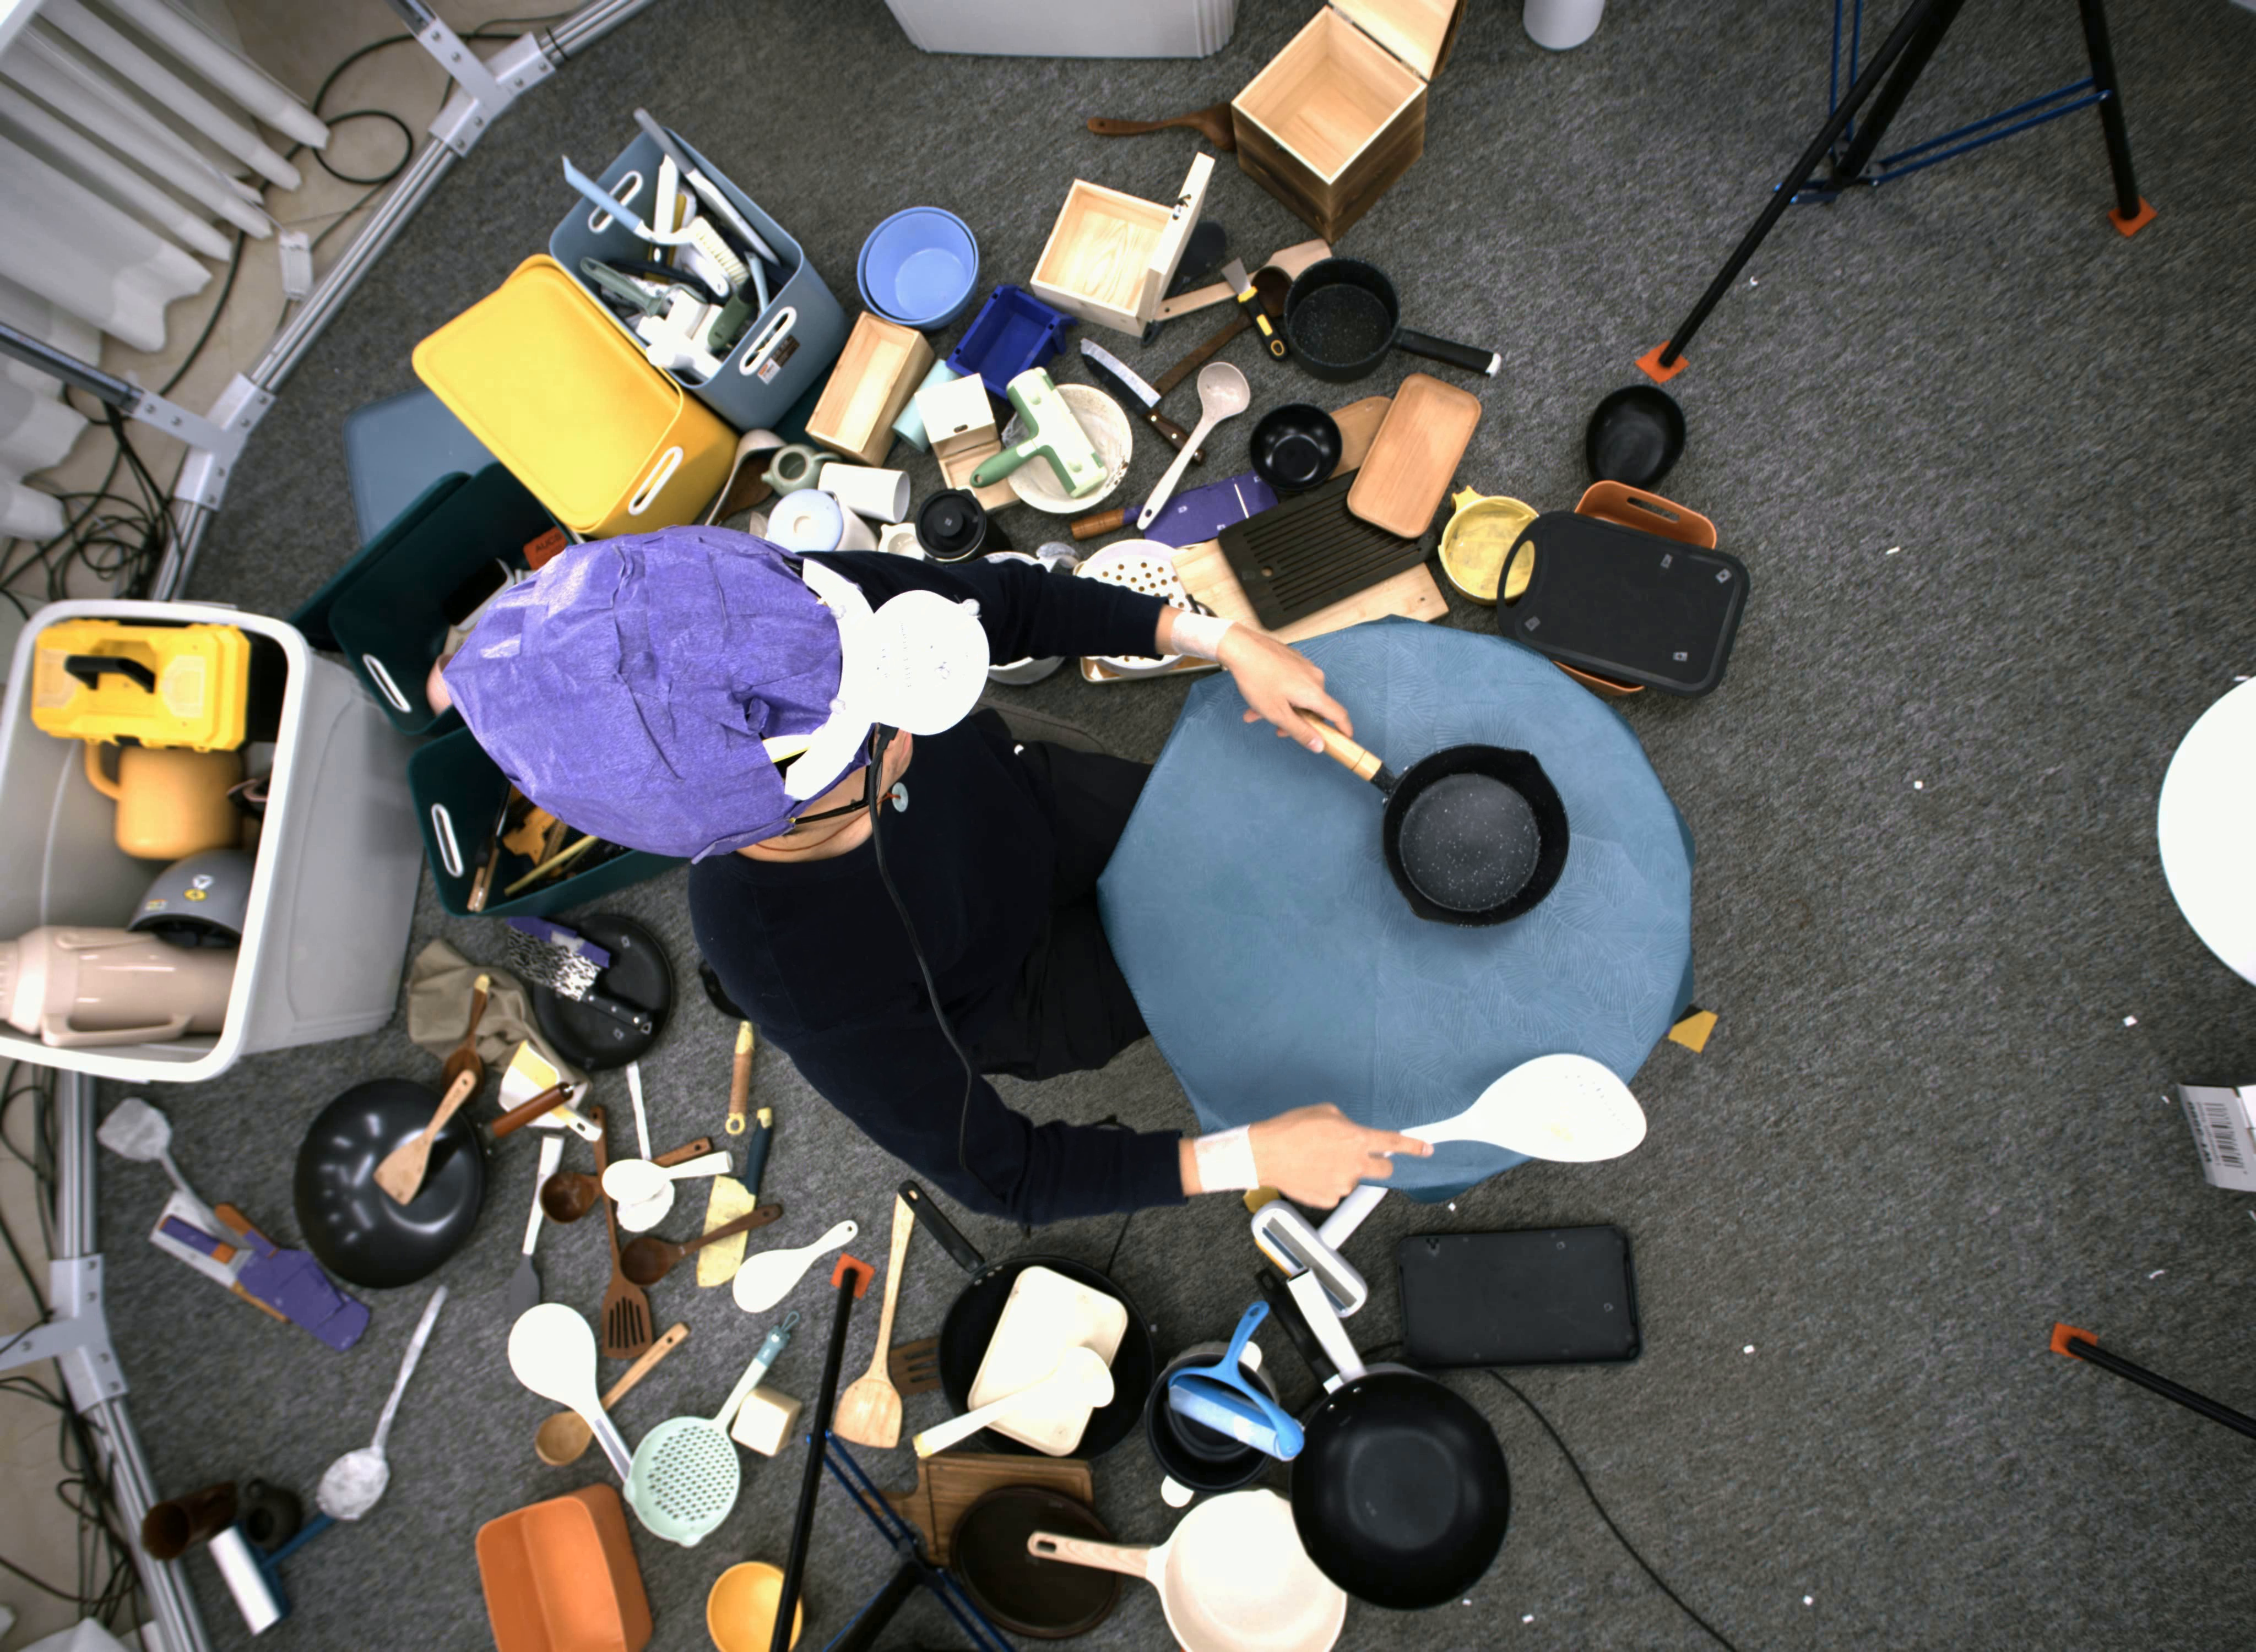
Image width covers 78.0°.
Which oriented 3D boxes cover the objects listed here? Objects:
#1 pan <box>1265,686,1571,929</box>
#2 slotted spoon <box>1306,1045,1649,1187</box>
[{"bbox_3d":[0.285,-0.033,1.408,0.342,0.108,0.208,34,94,9],"label":"pan"},{"bbox_3d":[0.335,0.292,1.338,0.346,0.051,0.134,-6,41,-14],"label":"slotted spoon"}]
